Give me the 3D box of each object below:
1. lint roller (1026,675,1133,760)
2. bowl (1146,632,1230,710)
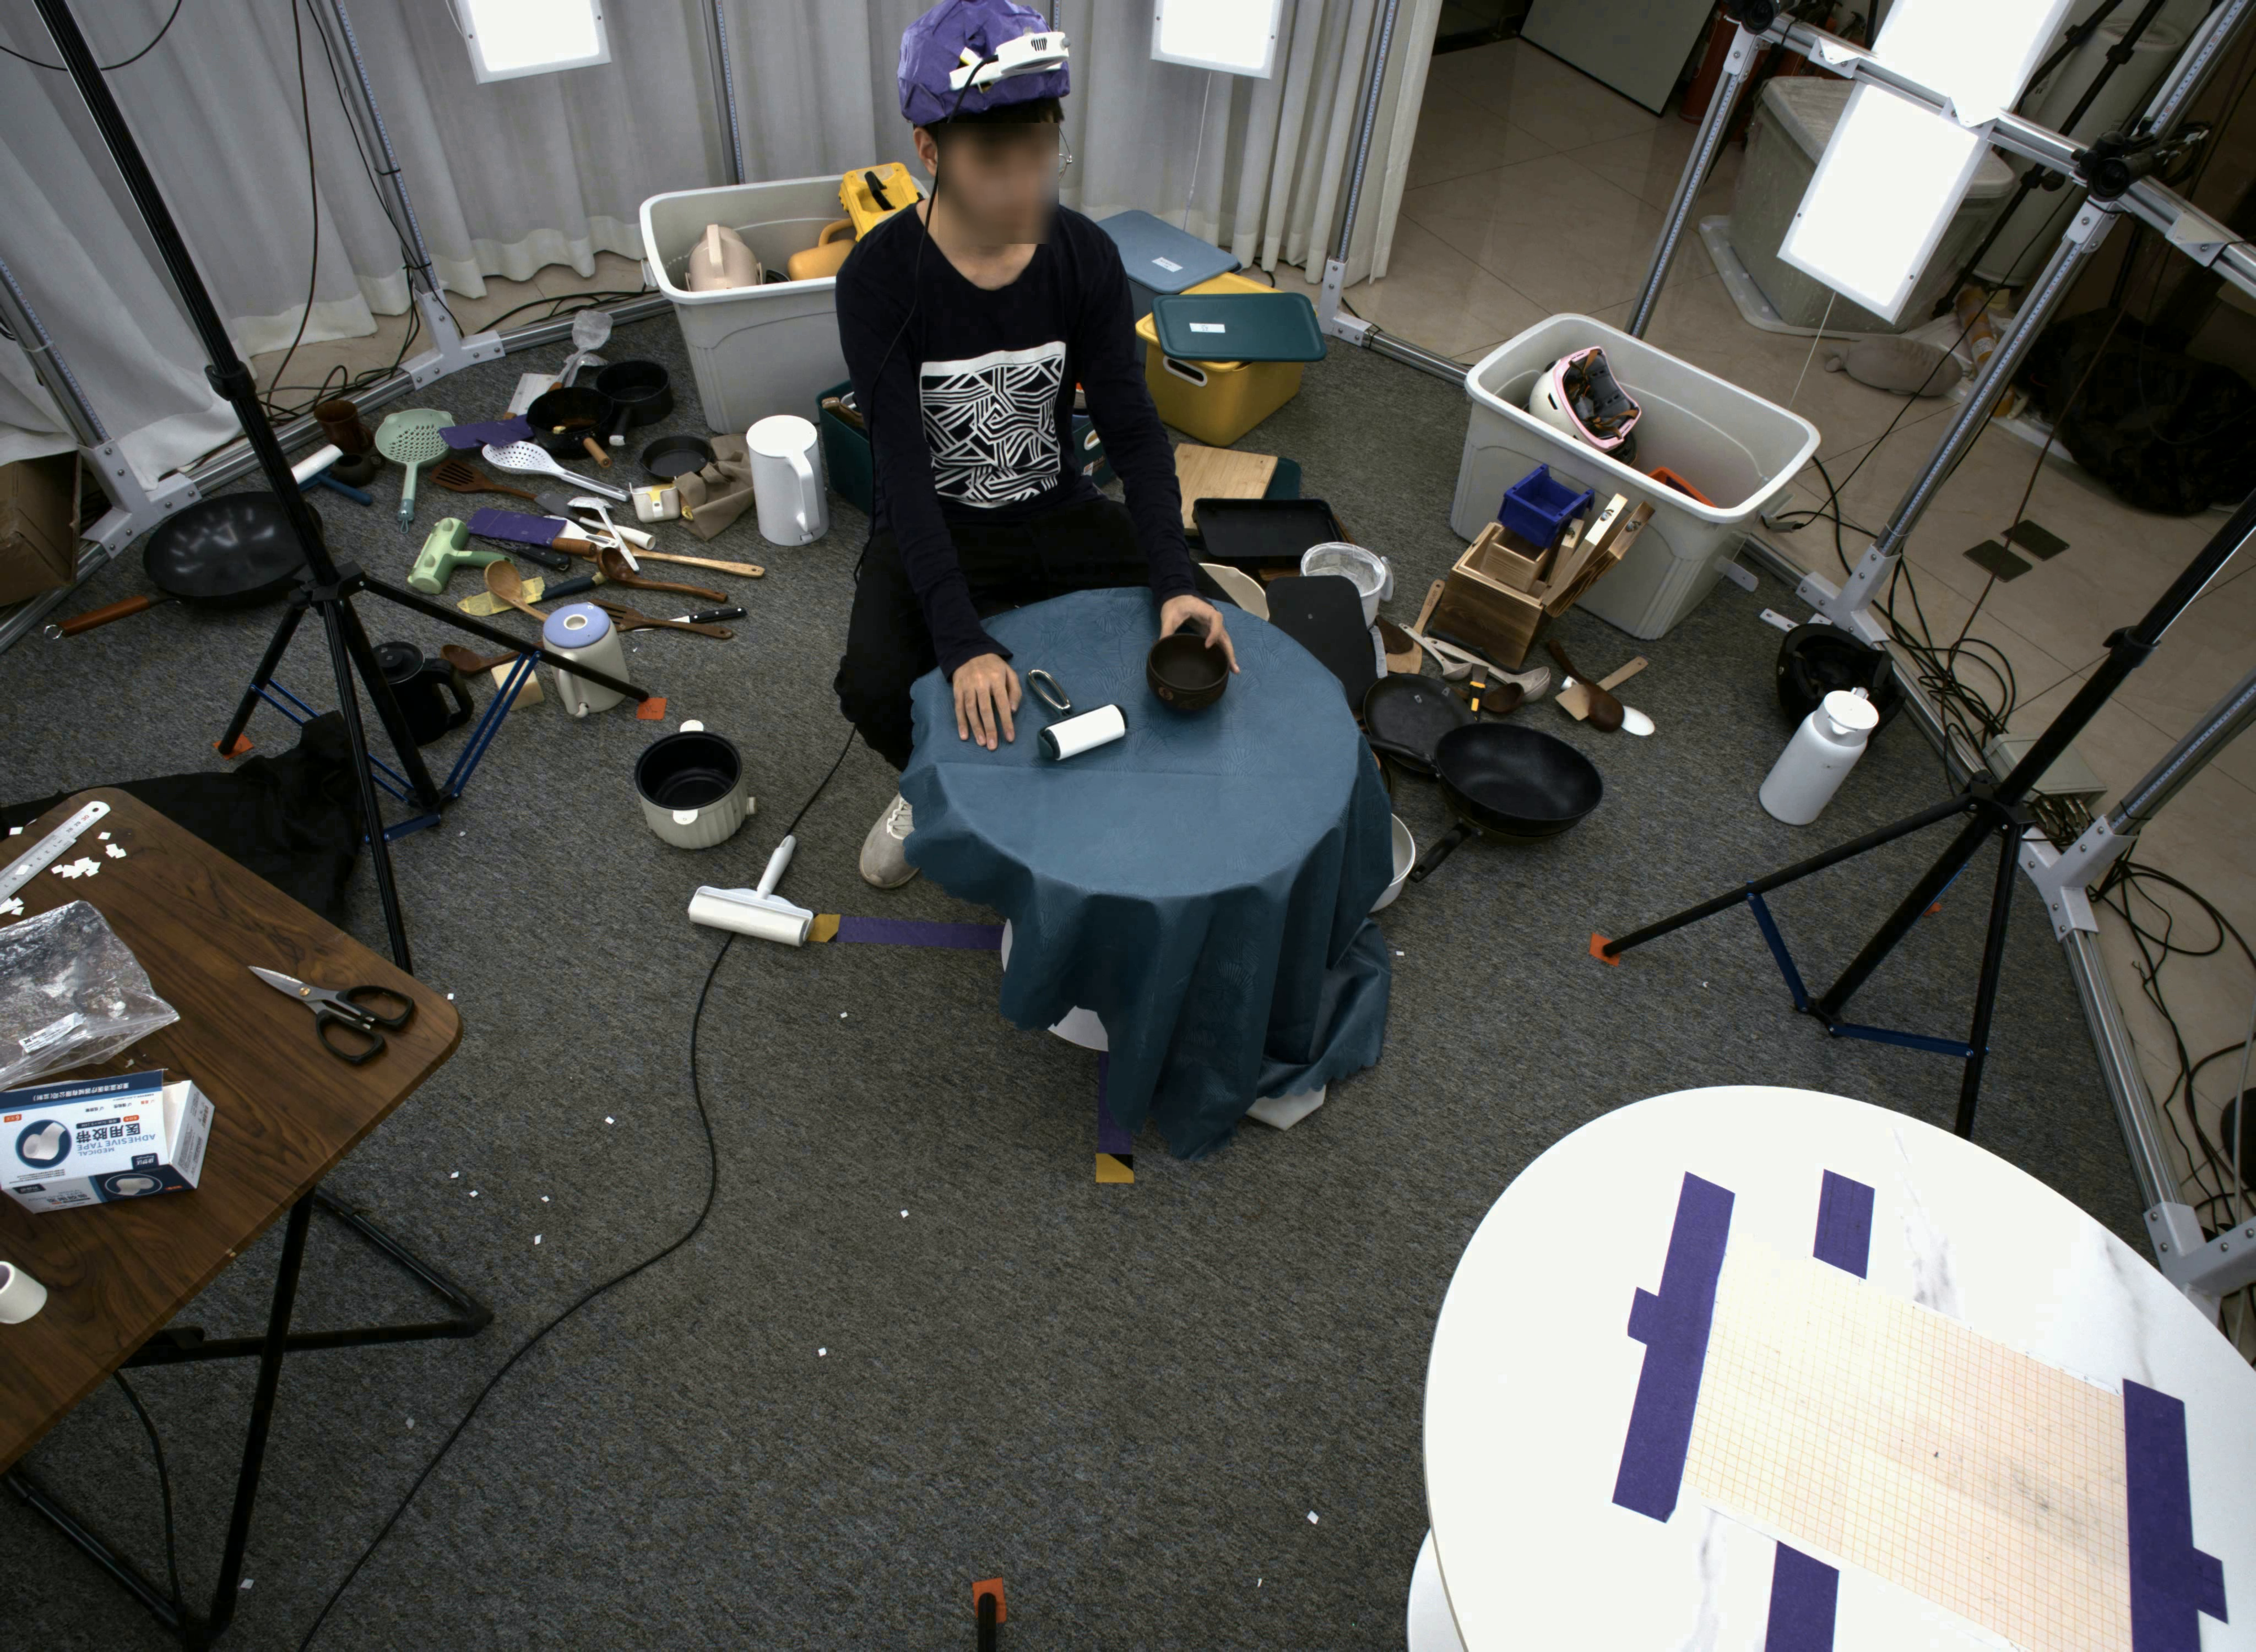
[{"bbox_3d":[-0.093,-0.172,1.784,0.135,0.047,0.184,-22,51,-21],"label":"lint roller"},{"bbox_3d":[0.084,-0.210,1.808,0.118,0.068,0.121,0,48,0],"label":"bowl"}]
